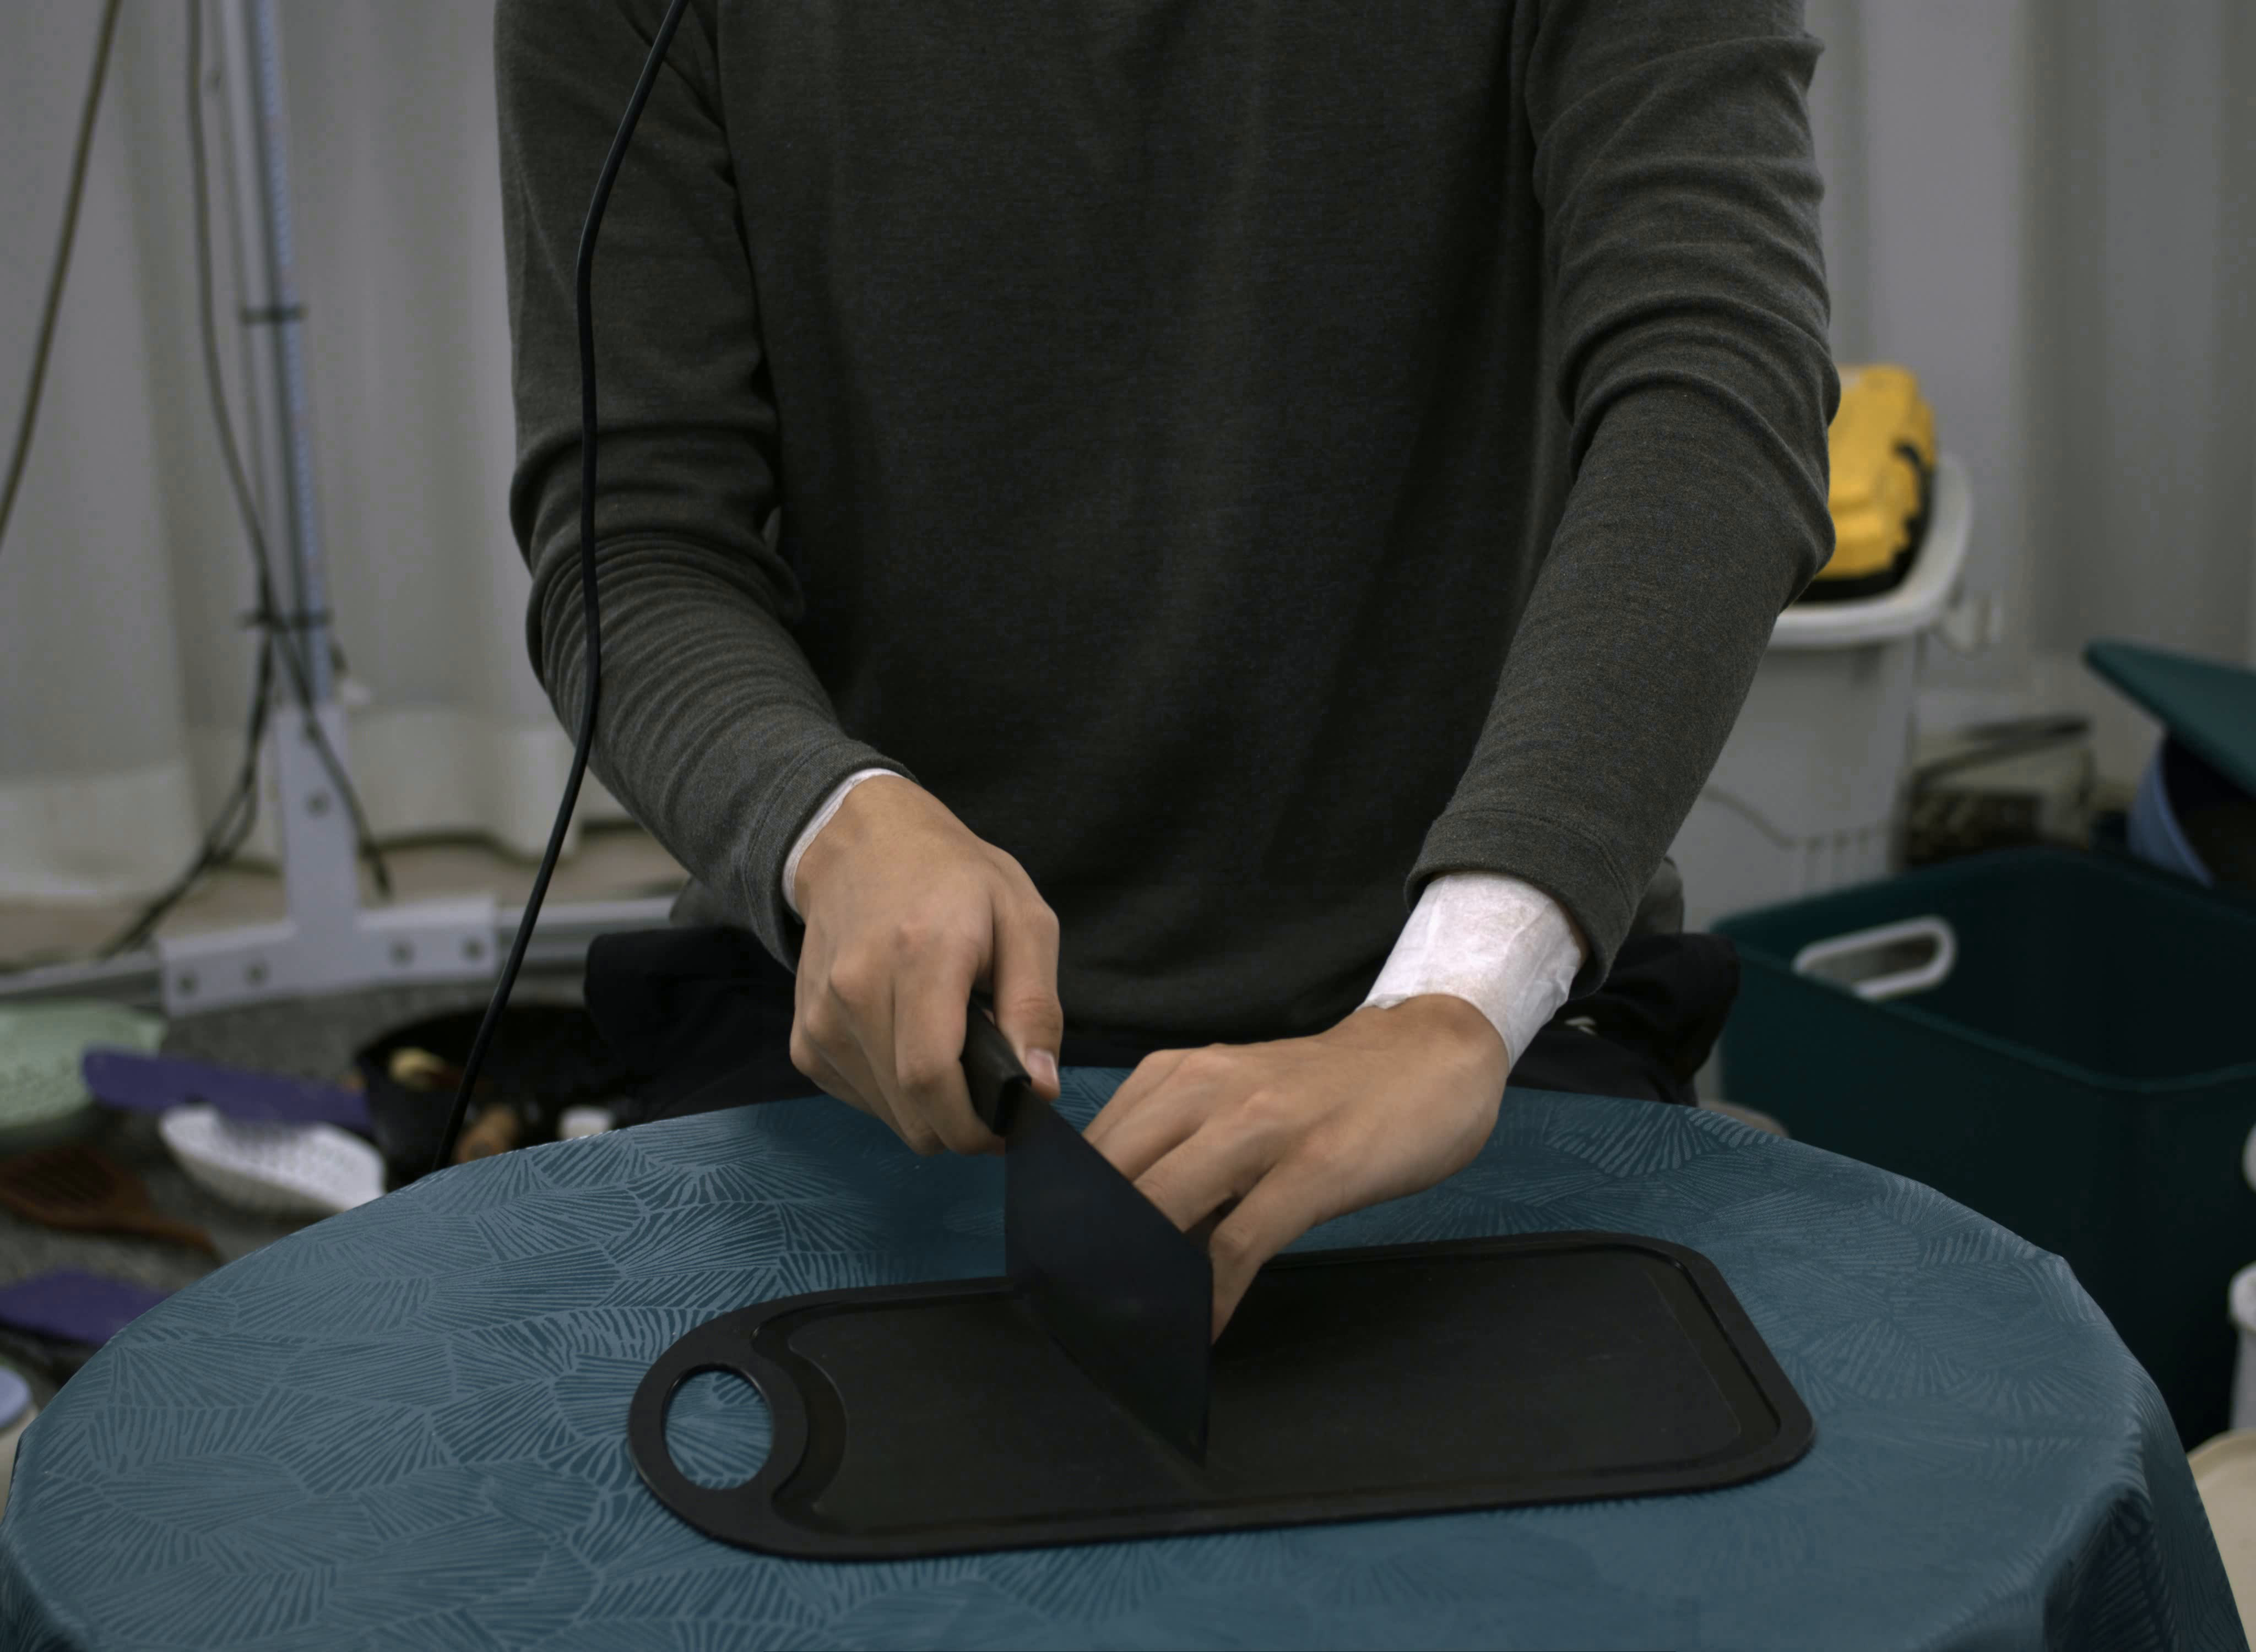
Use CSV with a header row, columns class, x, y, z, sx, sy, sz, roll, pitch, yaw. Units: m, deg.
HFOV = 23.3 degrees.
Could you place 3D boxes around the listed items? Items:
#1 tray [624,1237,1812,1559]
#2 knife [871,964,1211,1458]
class,x,y,z,sx,sy,sz,roll,pitch,yaw
tray,0.021,0.158,1.539,0.324,0.010,0.212,-4,14,-4
knife,-0.026,0.103,1.588,0.021,0.080,0.305,-2,18,-18
